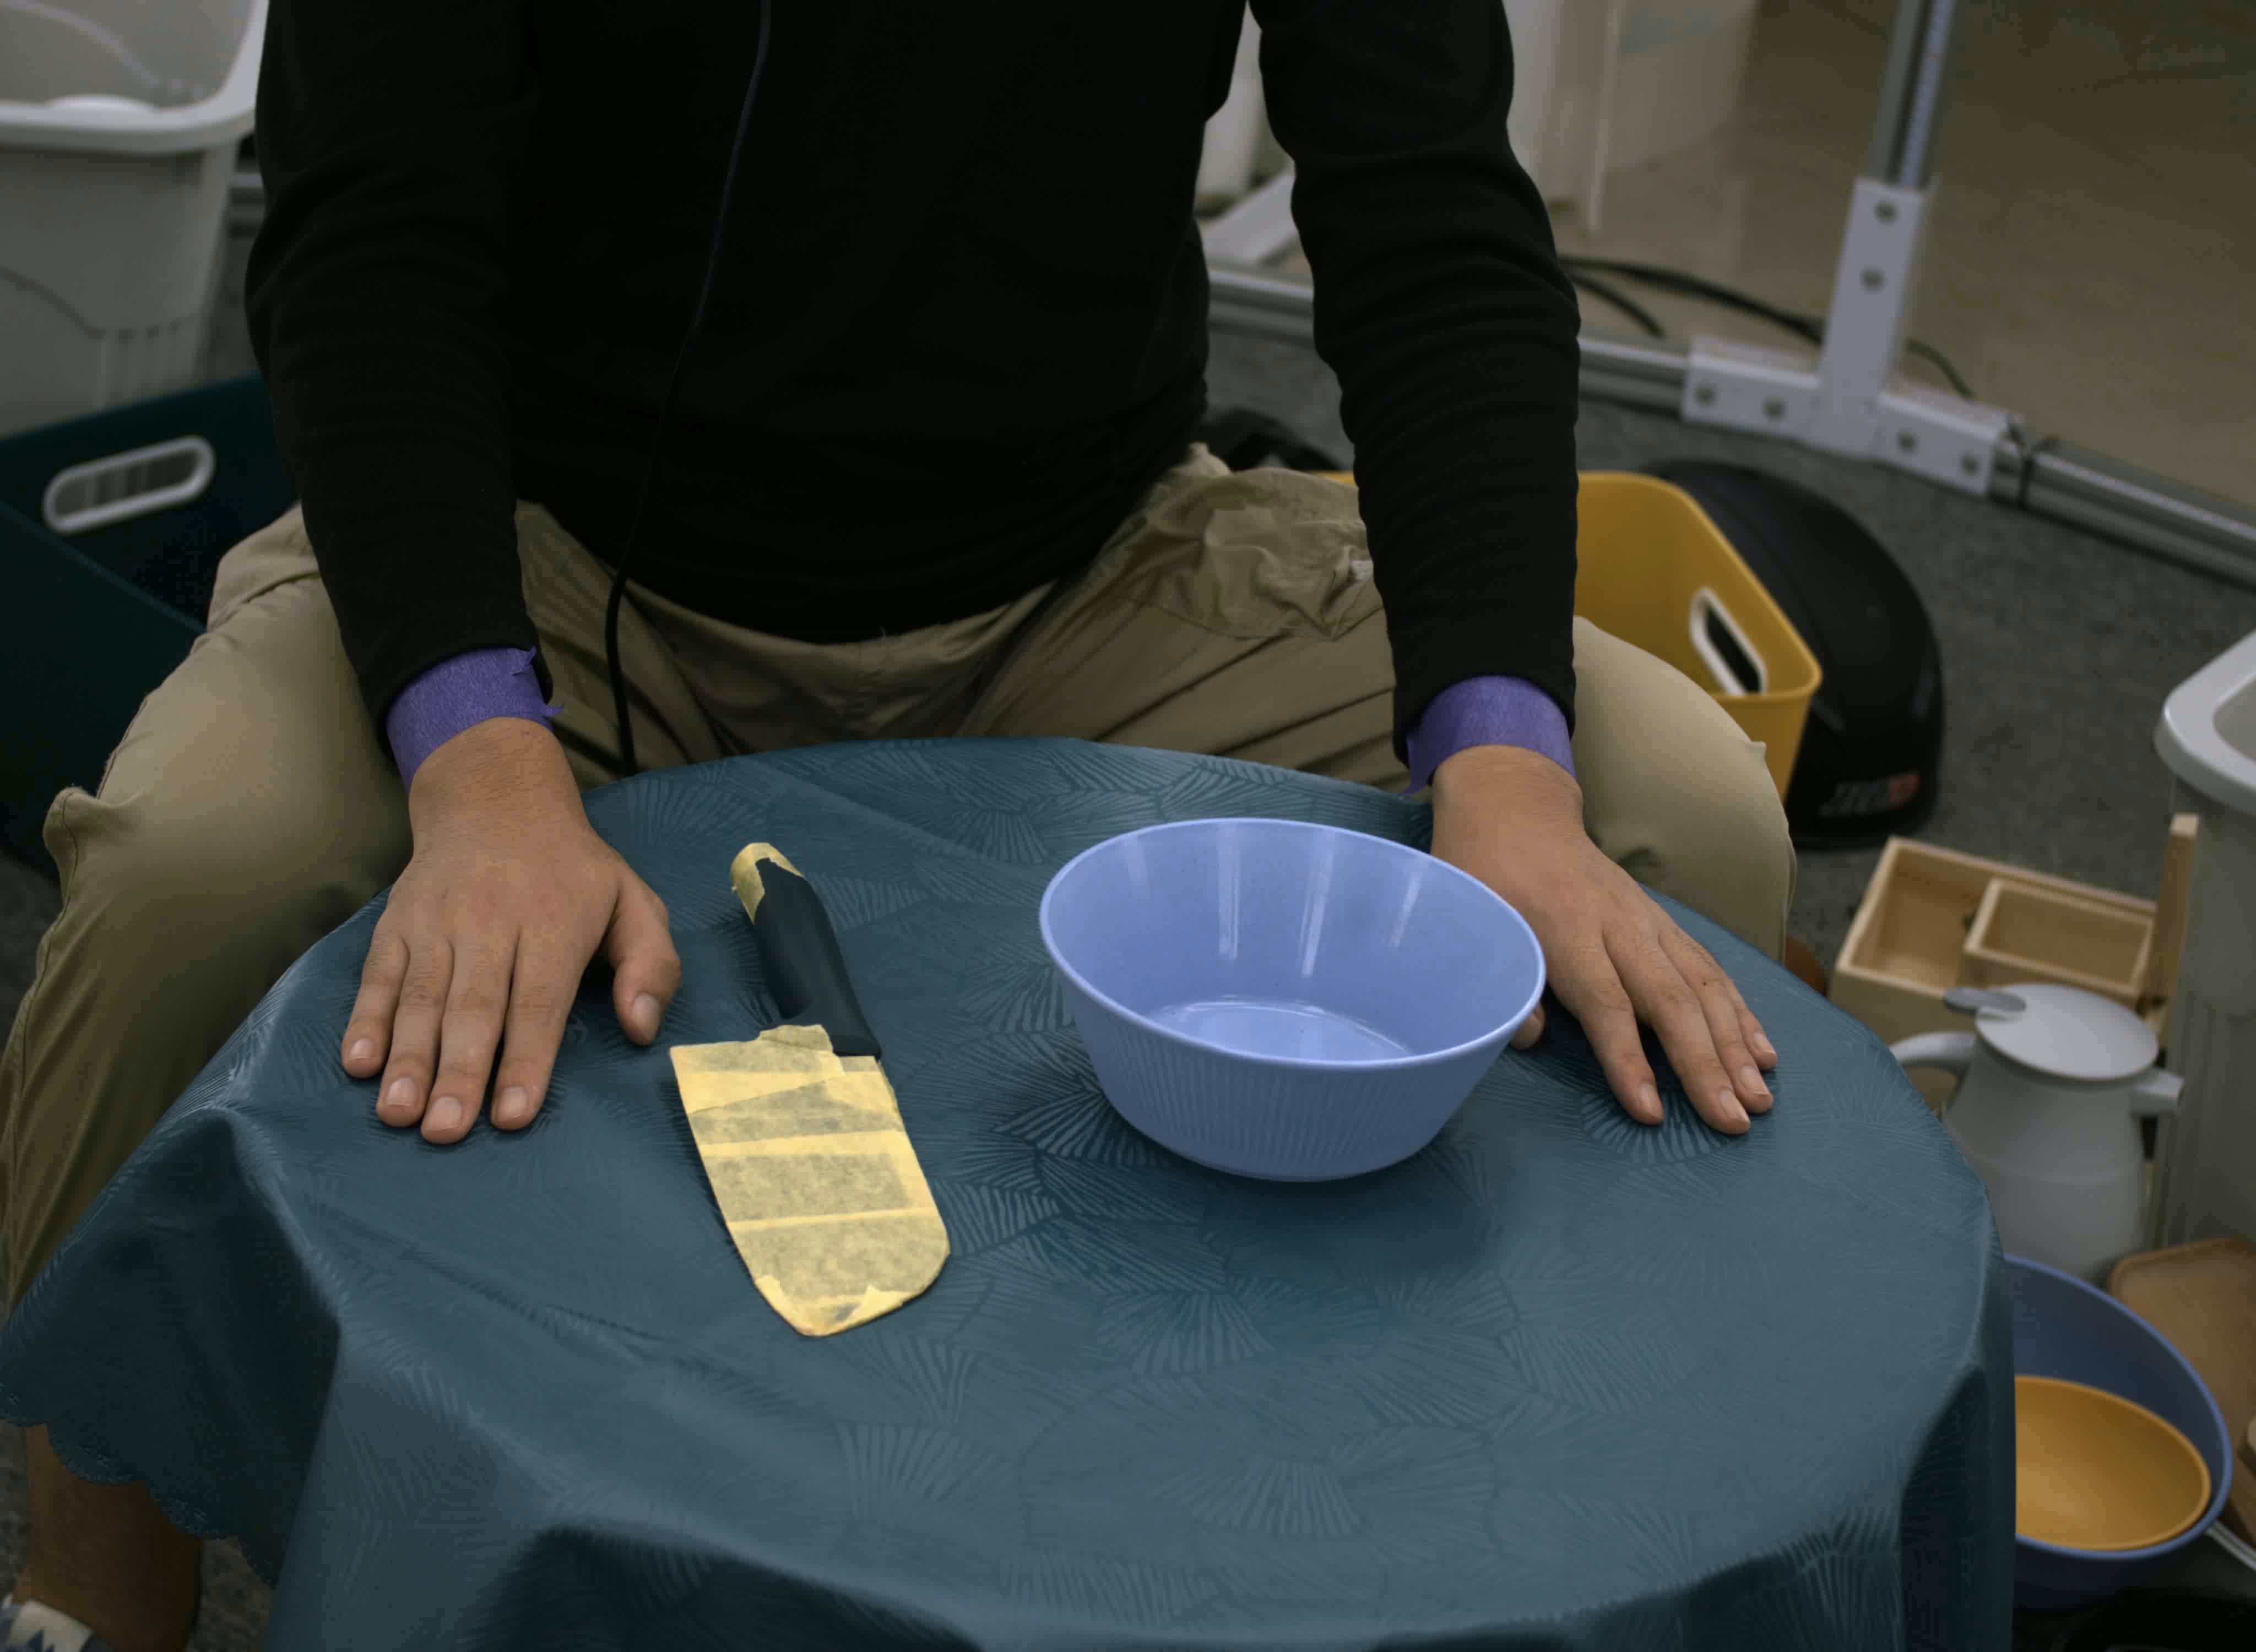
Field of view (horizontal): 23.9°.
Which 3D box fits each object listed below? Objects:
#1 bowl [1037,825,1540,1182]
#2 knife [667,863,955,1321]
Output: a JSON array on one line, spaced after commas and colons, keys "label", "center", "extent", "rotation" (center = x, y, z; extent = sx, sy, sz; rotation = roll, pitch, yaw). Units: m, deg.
[{"label": "bowl", "center": [0.052, 0.067, 1.853], "extent": [0.175, 0.070, 0.177], "rotation": [5, 27, -3]}, {"label": "knife", "center": [-0.117, 0.090, 1.831], "extent": [0.080, 0.027, 0.292], "rotation": [1, 28, -14]}]
